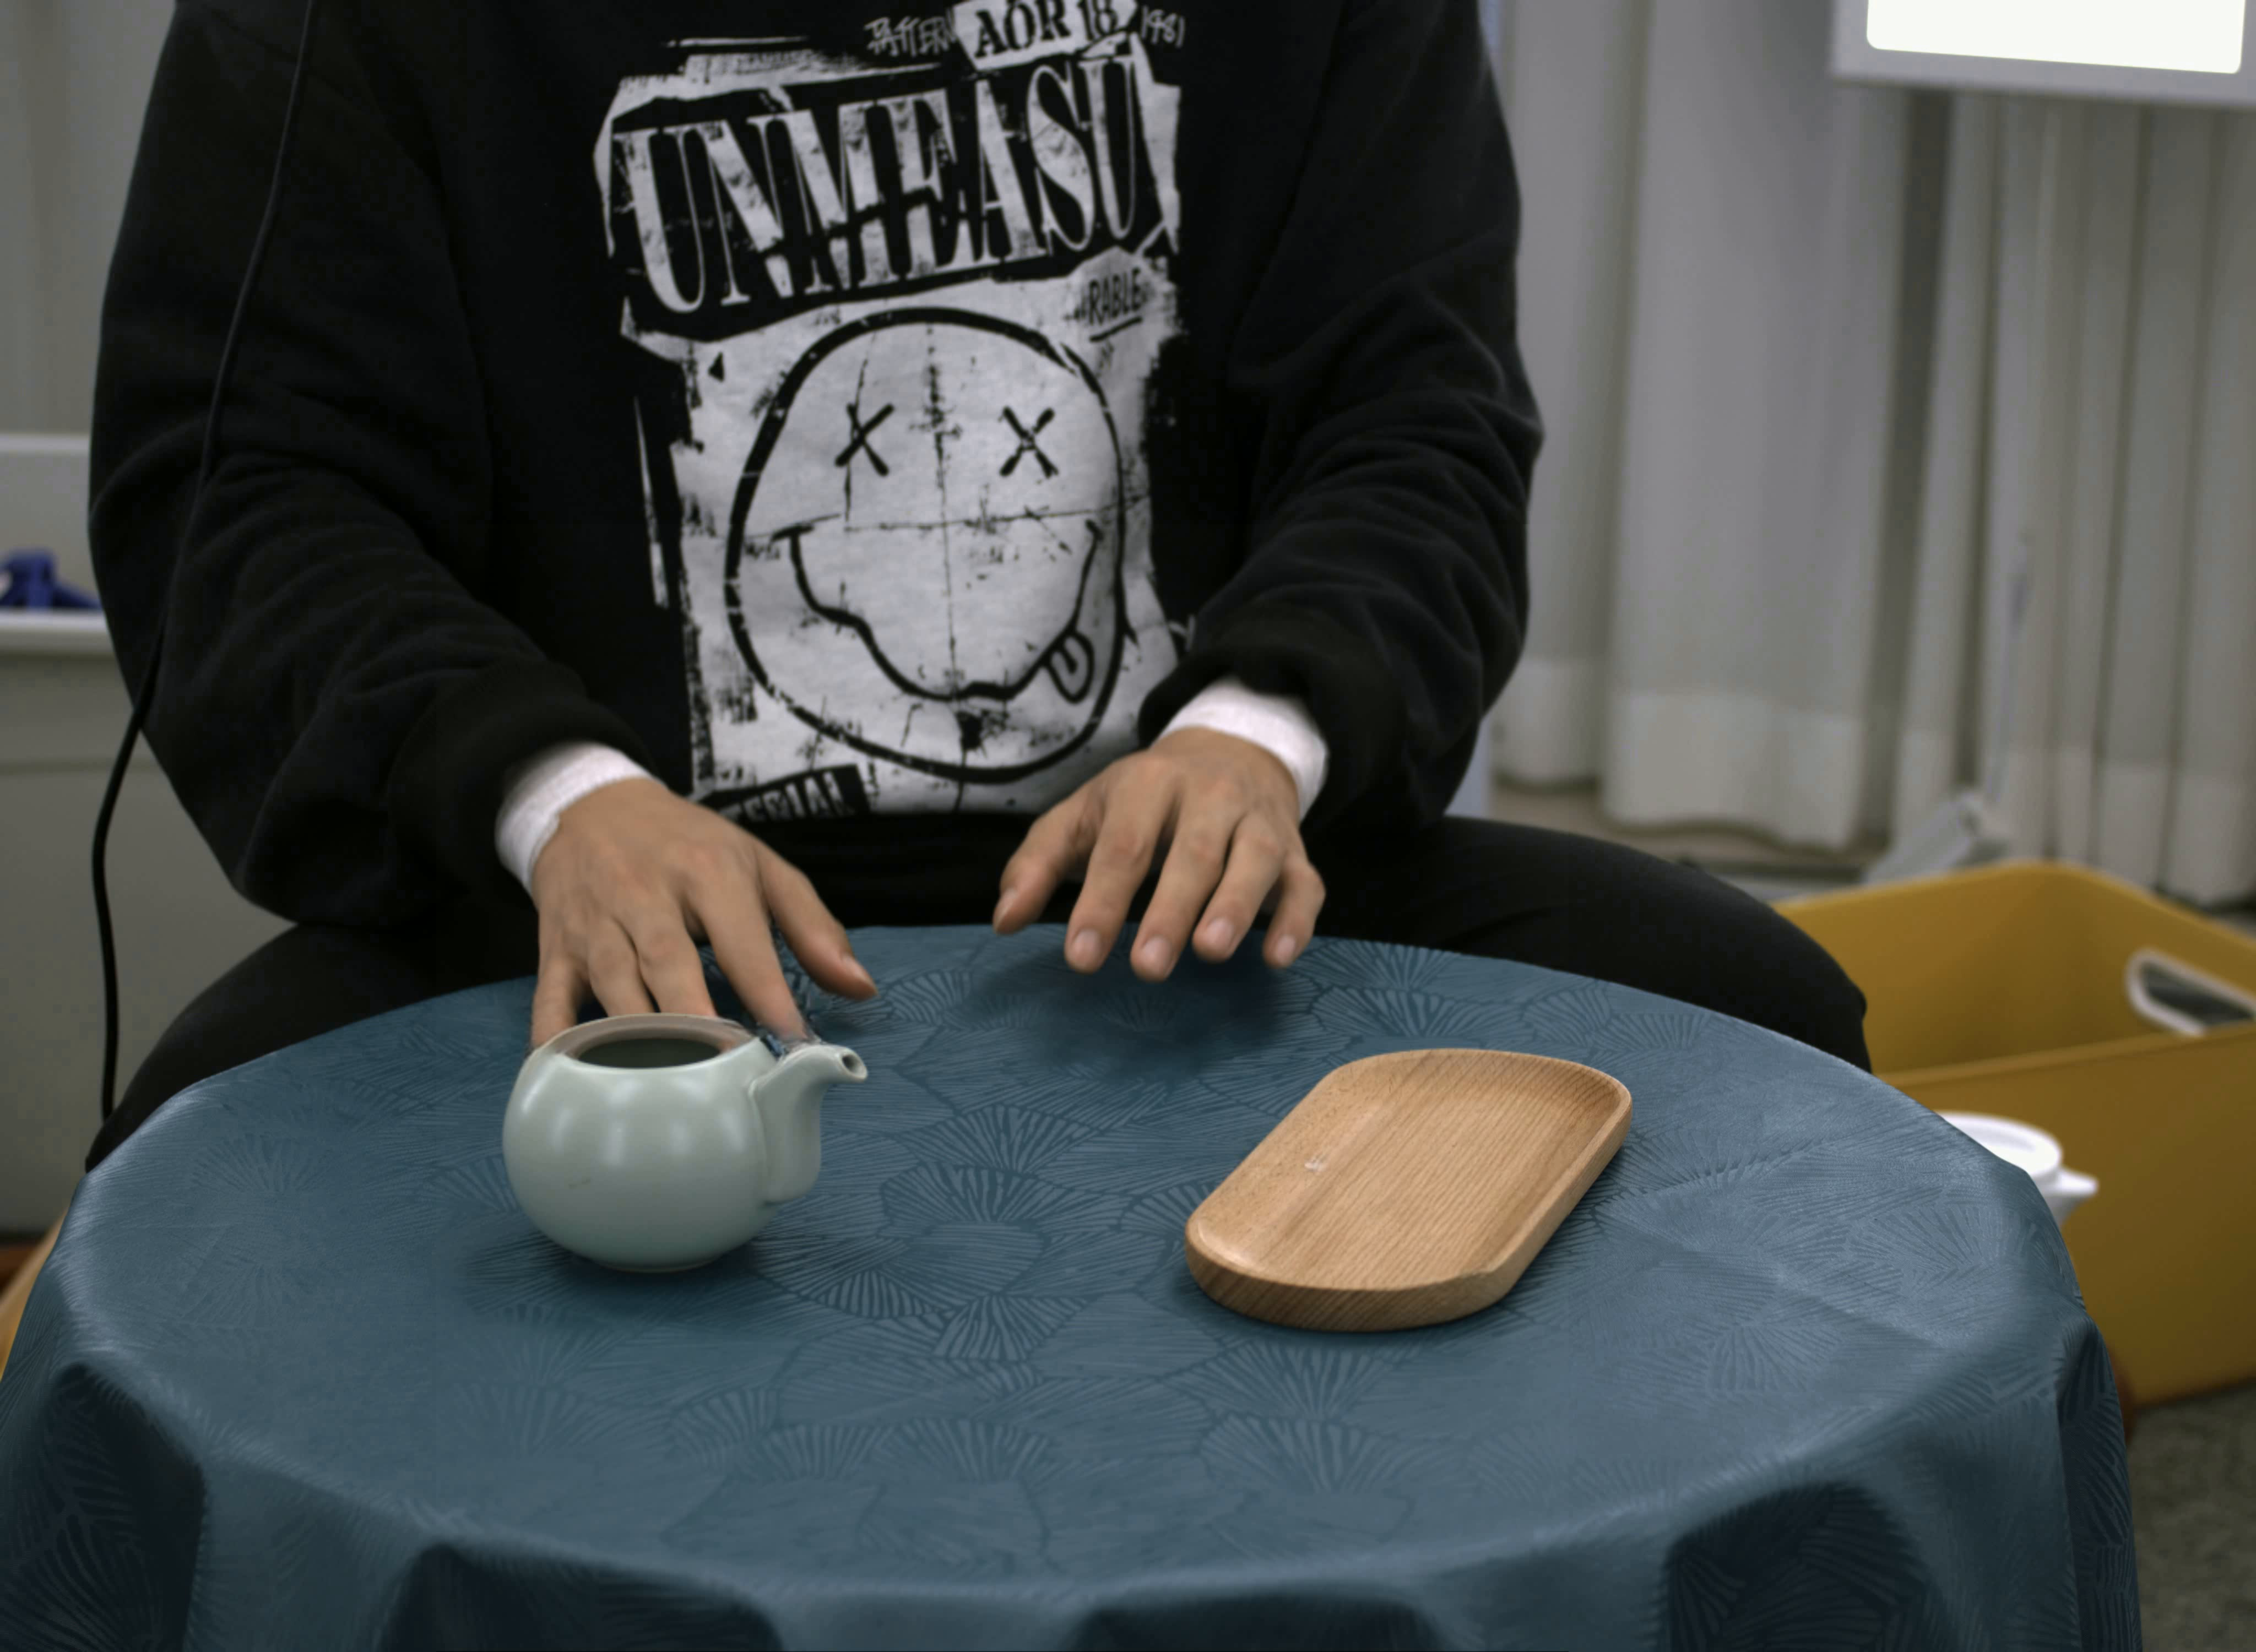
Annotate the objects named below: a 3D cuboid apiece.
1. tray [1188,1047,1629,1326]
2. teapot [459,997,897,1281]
[{"bbox_3d":[0.088,0.108,1.612,0.101,0.020,0.231,7,15,17],"label":"tray"},{"bbox_3d":[-0.133,0.093,1.556,0.142,0.075,0.088,7,17,24],"label":"teapot"}]
